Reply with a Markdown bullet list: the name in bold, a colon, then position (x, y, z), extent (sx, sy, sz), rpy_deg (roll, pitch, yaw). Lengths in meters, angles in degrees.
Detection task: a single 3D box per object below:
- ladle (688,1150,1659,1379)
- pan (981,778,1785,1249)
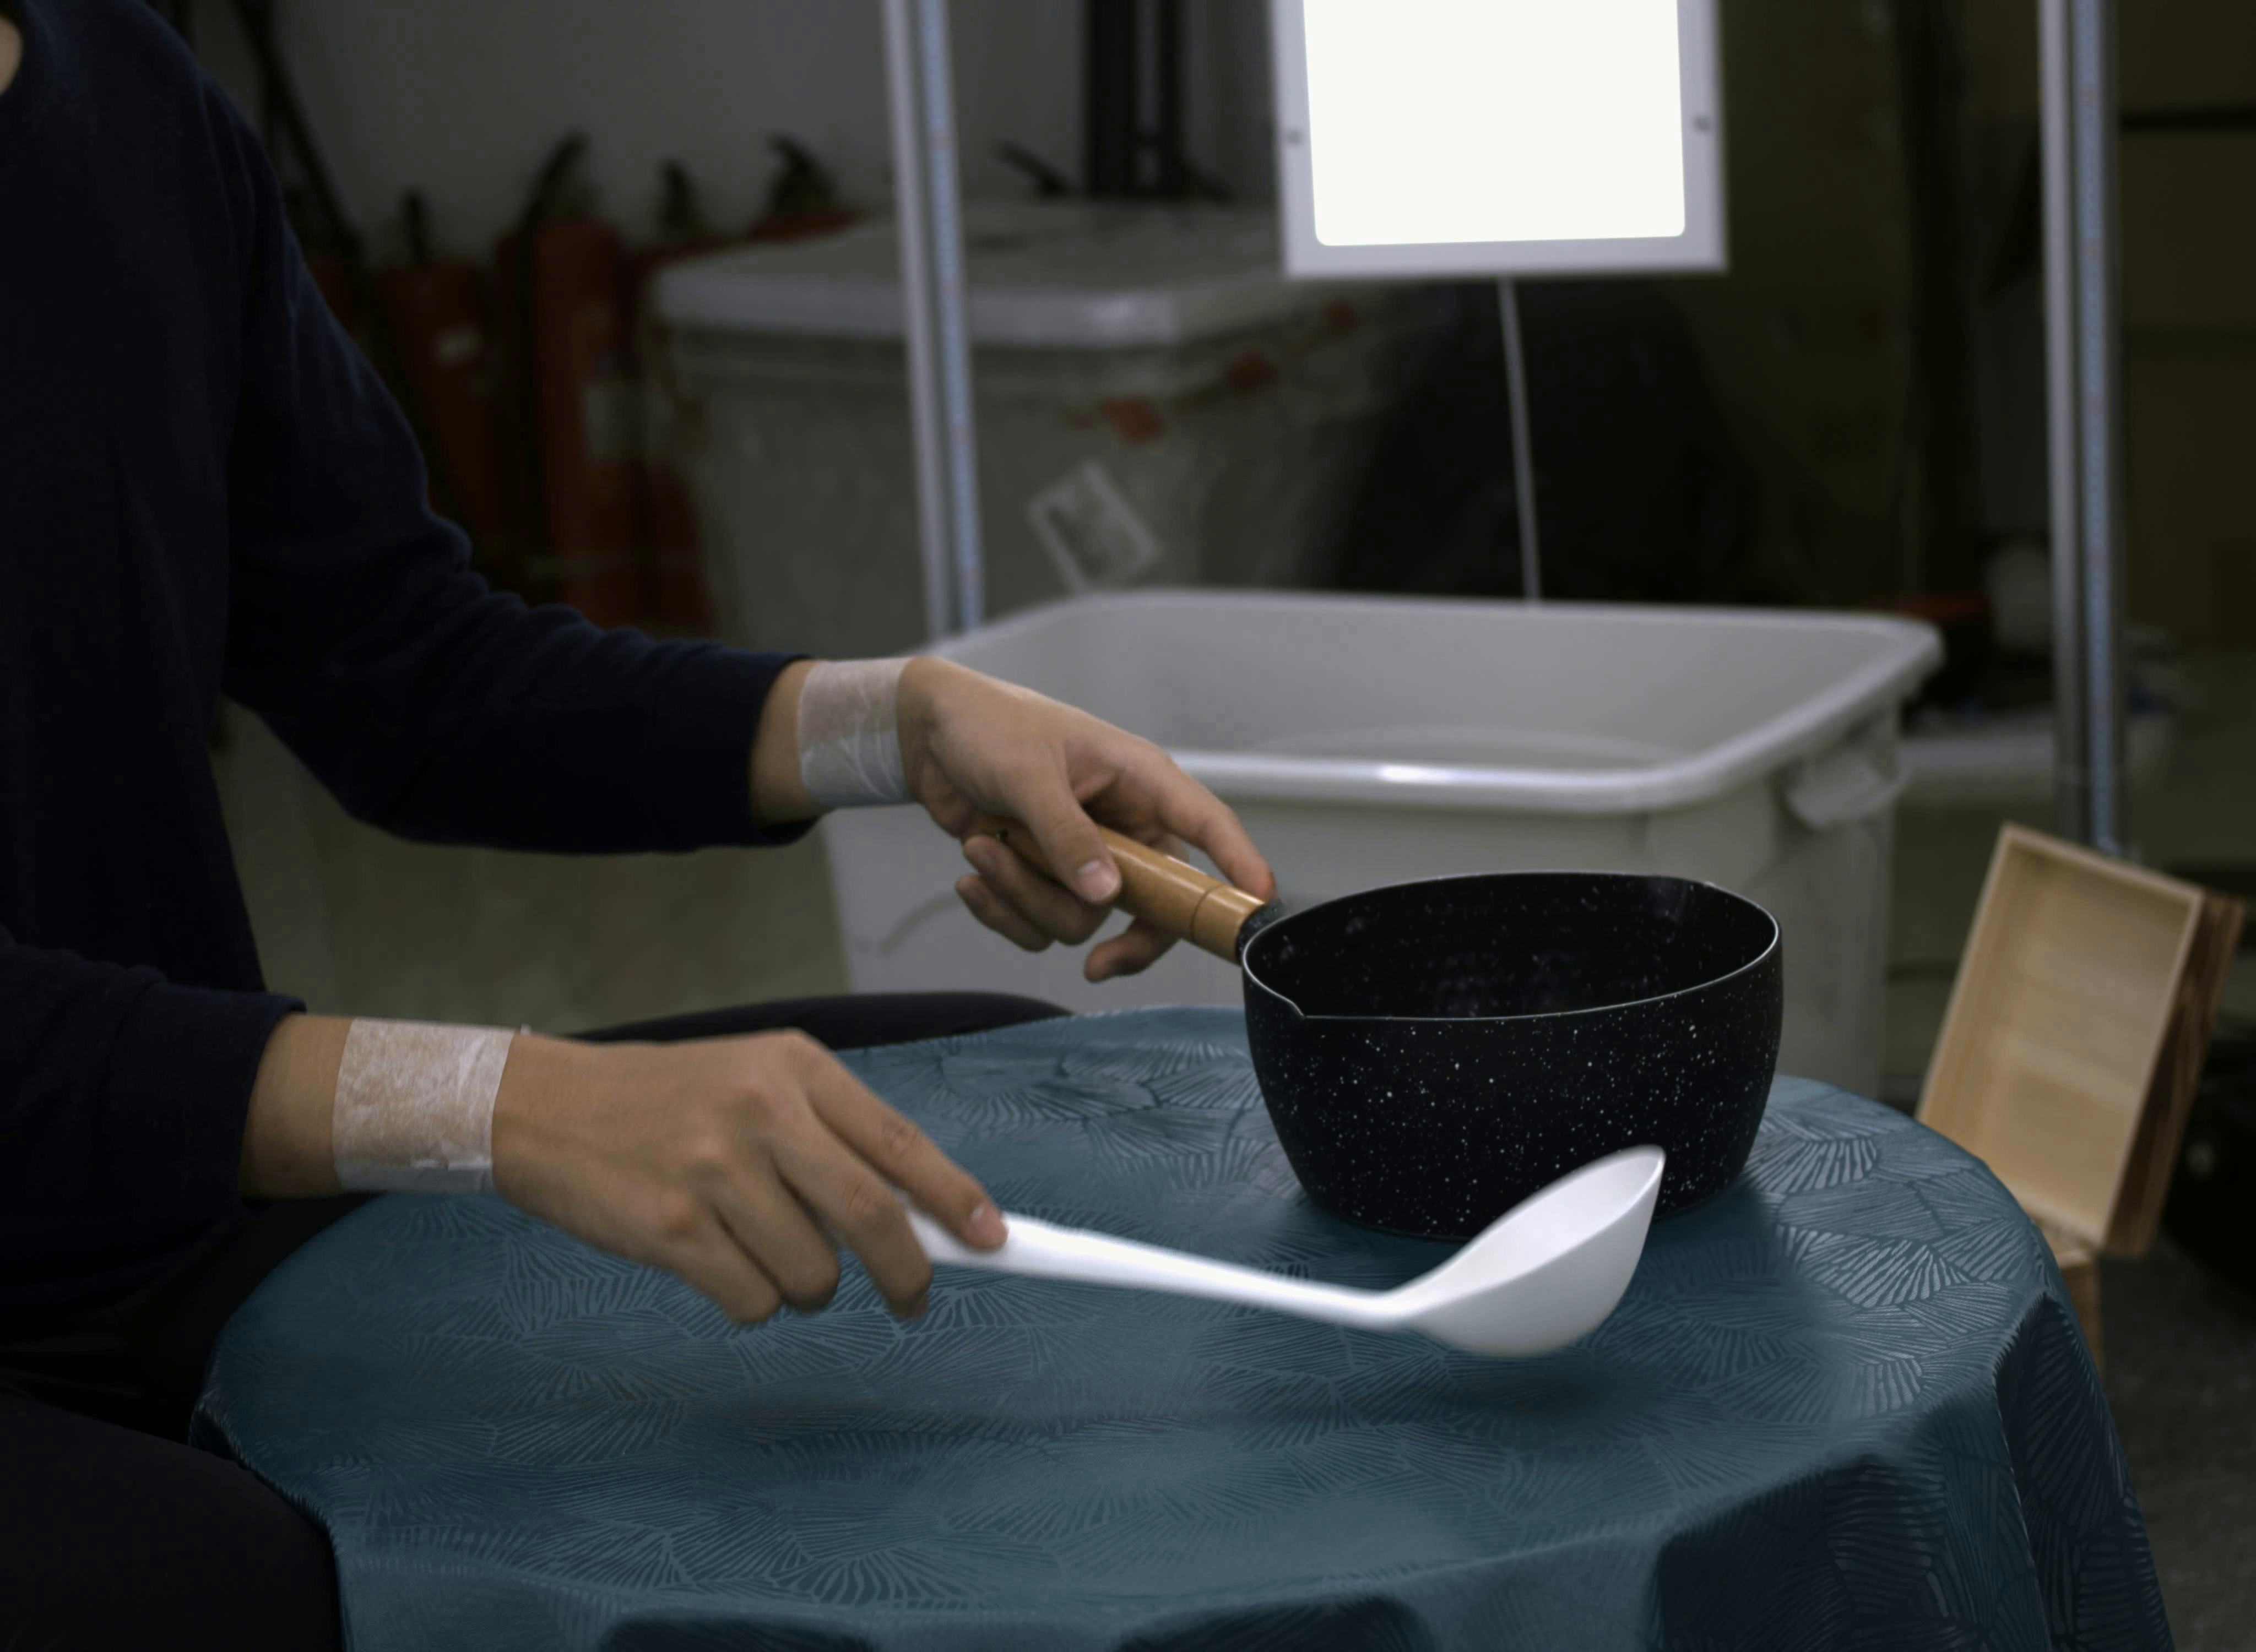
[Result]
- **ladle**: position (0.012, 0.123, 1.665), extent (0.294, 0.070, 0.089), rpy_deg (5, 18, 9)
- **pan**: position (0.074, 0.058, 1.920), extent (0.350, 0.108, 0.202), rpy_deg (11, 22, 43)
